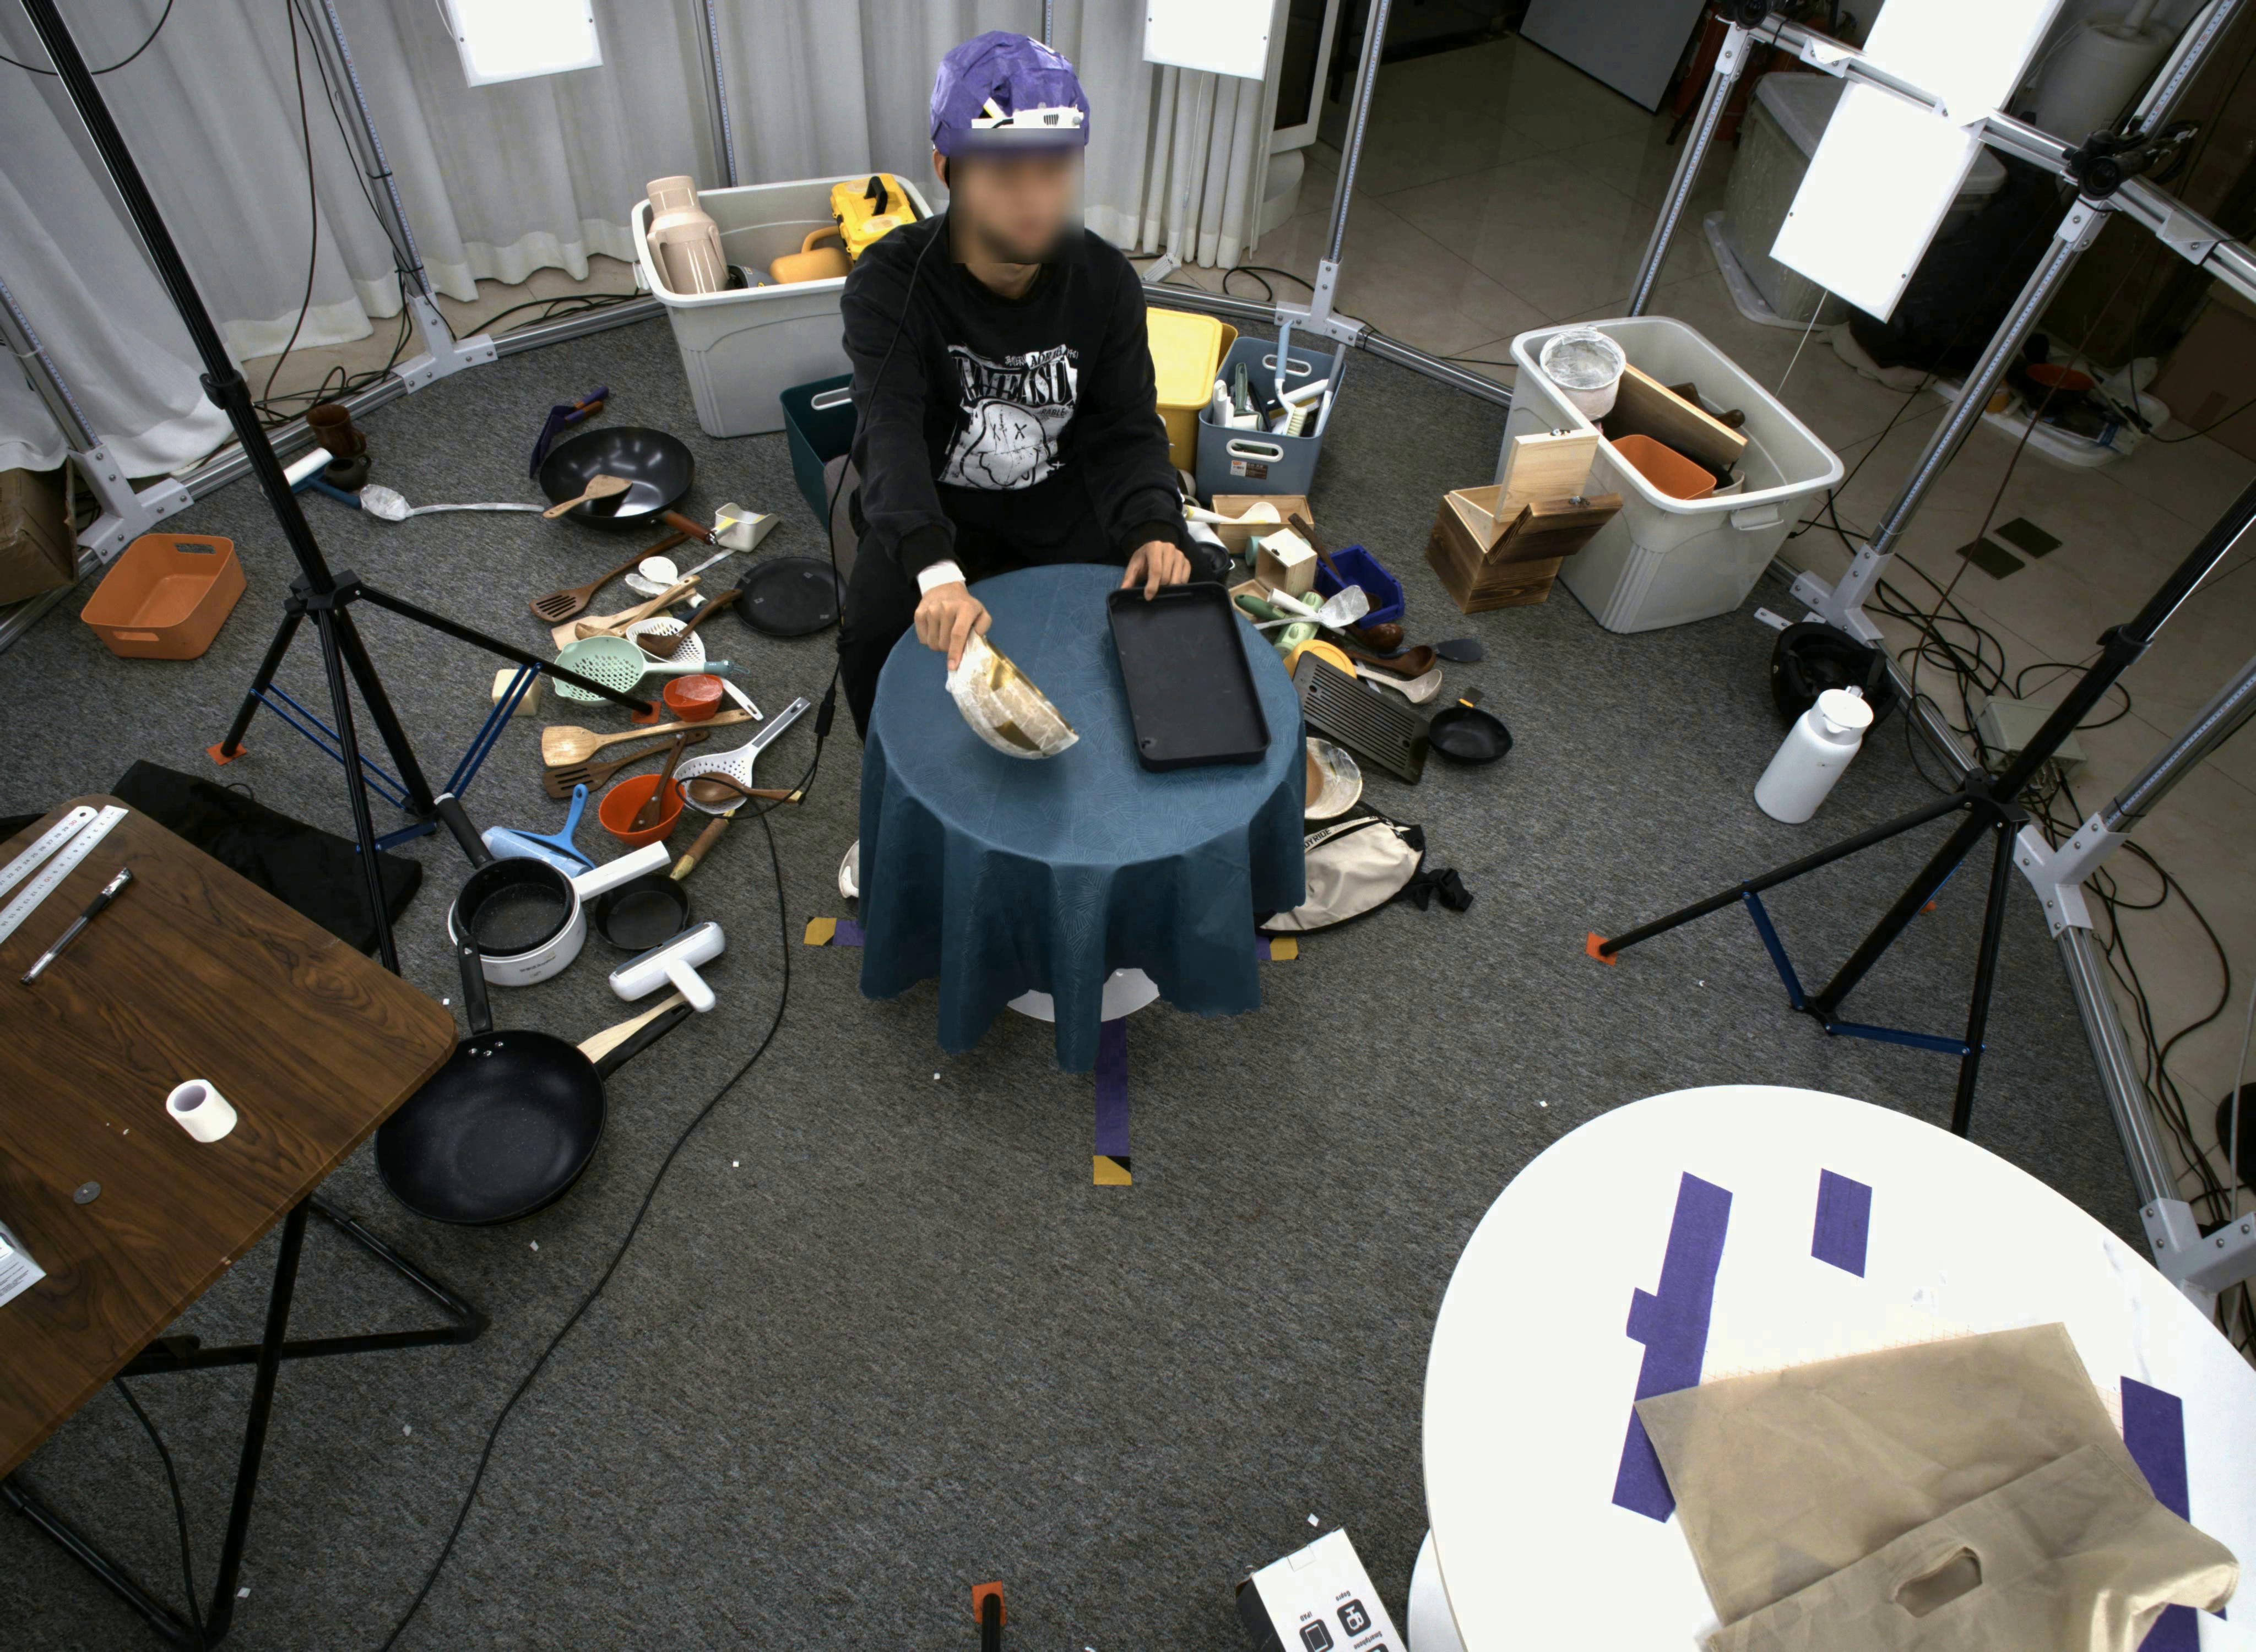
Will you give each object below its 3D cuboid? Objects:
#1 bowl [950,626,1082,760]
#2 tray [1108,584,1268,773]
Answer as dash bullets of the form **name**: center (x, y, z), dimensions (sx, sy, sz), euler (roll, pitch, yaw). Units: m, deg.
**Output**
- **bowl**: center (-0.163, -0.158, 1.674), dimensions (0.094, 0.211, 0.219), euler (-44, 59, 5)
- **tray**: center (0.081, -0.216, 1.836), dimensions (0.184, 0.036, 0.325), euler (-5, 55, -8)
